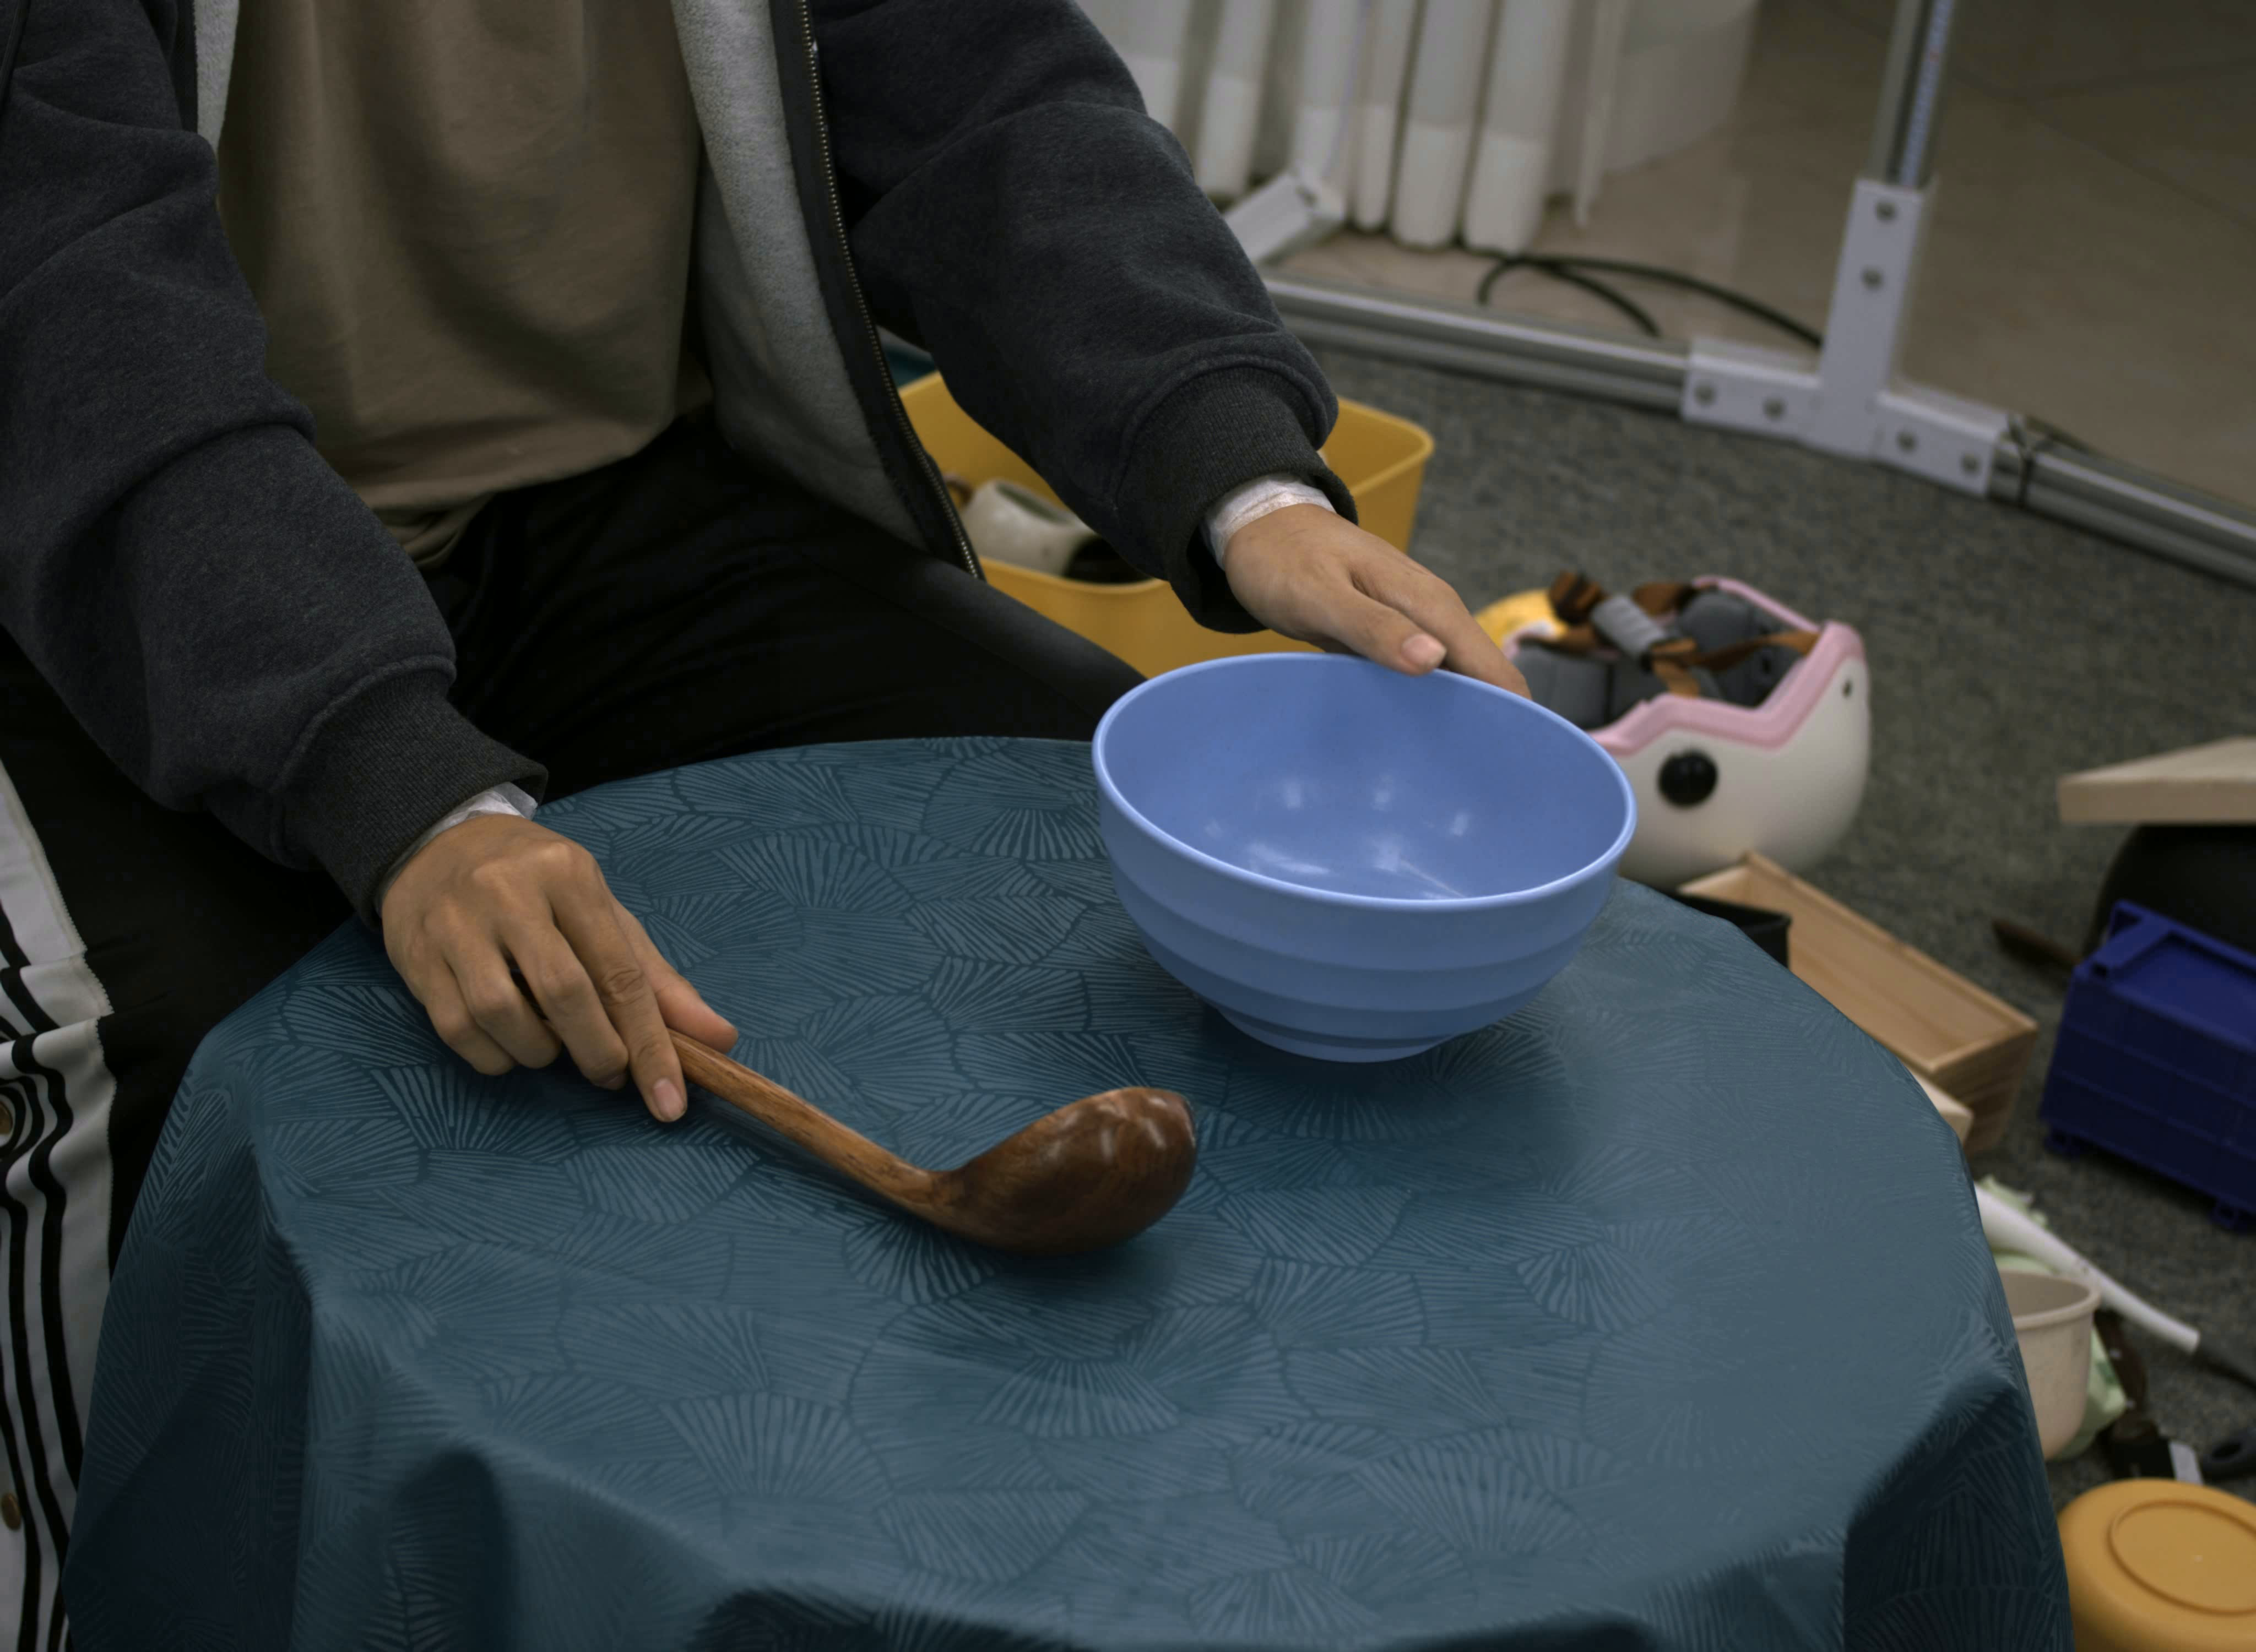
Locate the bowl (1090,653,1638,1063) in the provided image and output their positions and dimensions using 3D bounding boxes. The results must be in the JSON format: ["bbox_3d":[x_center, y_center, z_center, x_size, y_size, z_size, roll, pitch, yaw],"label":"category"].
[{"bbox_3d":[0.080,0.022,1.915,0.196,0.095,0.197,5,27,-3],"label":"bowl"}]

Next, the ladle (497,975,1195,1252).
[{"bbox_3d":[-0.099,0.075,1.797,0.276,0.077,0.081,24,-9,33],"label":"ladle"}]
